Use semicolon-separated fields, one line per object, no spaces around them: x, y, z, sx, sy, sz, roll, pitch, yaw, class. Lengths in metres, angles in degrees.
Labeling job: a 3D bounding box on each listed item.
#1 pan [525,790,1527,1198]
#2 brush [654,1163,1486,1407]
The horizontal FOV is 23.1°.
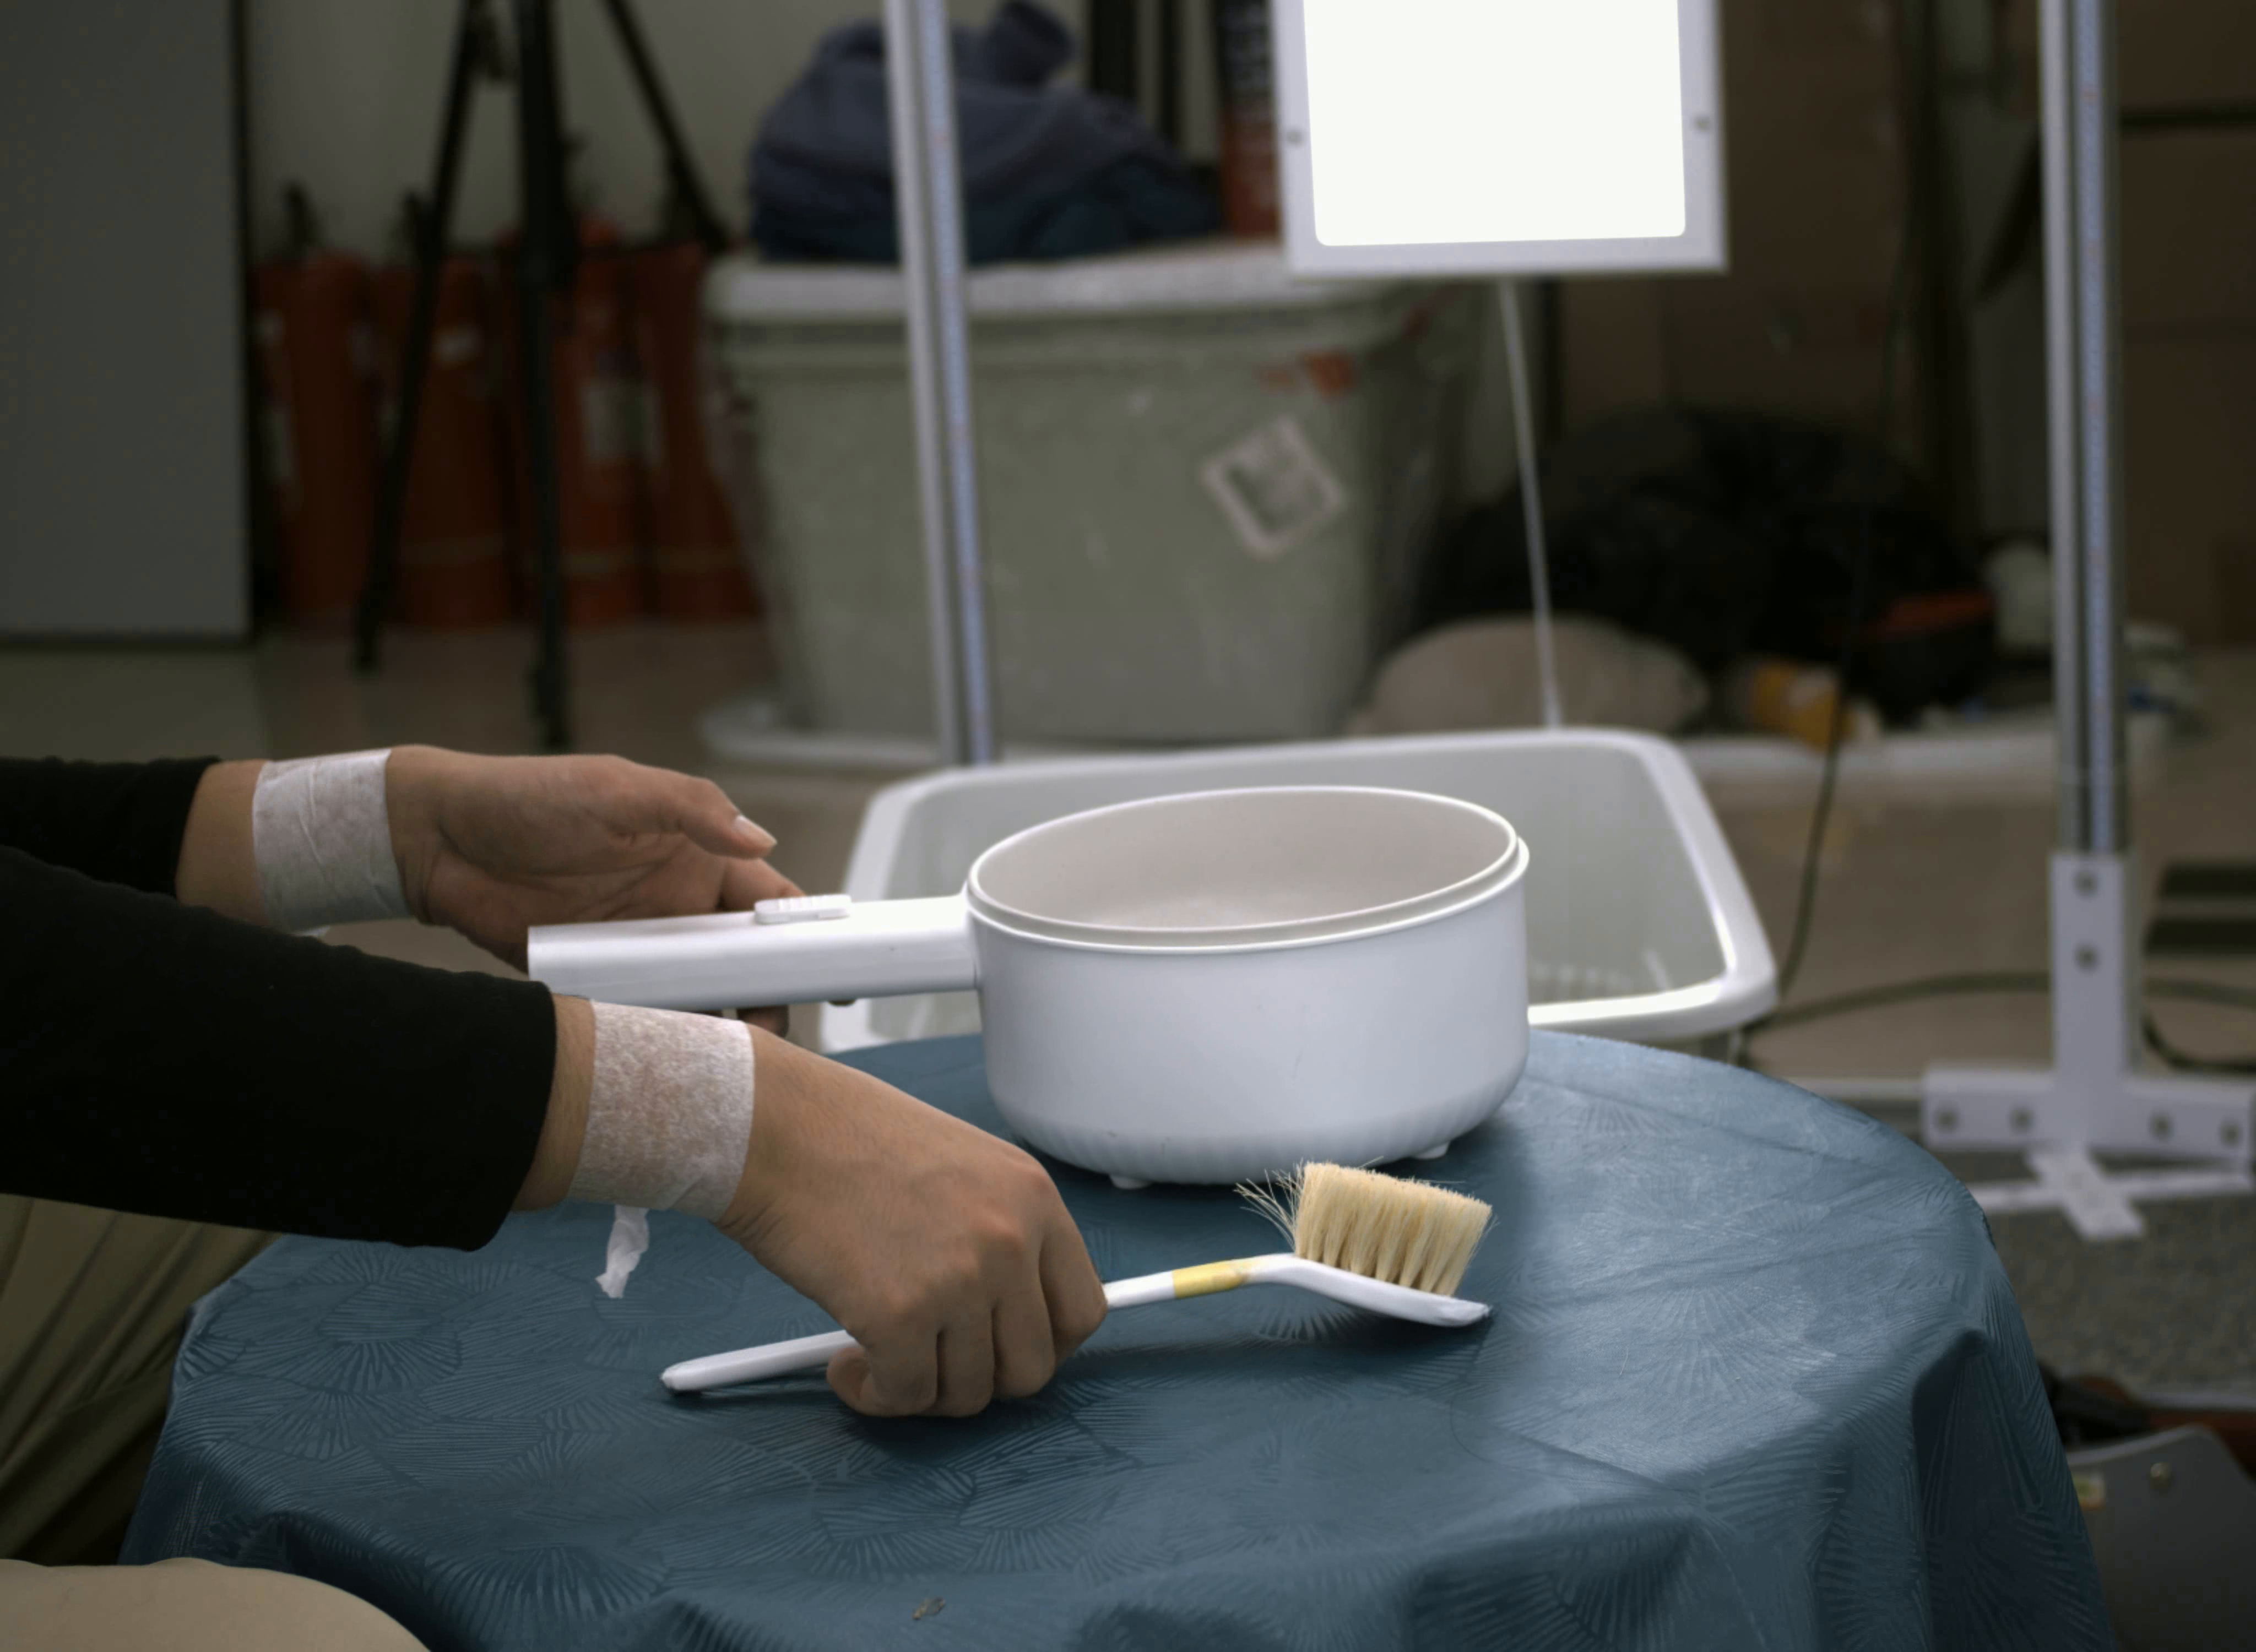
-0.032;0.069;1.944;0.353;0.102;0.201;-6;15;-2;pan
-0.019;0.141;1.723;0.266;0.056;0.068;-6;-4;3;brush
